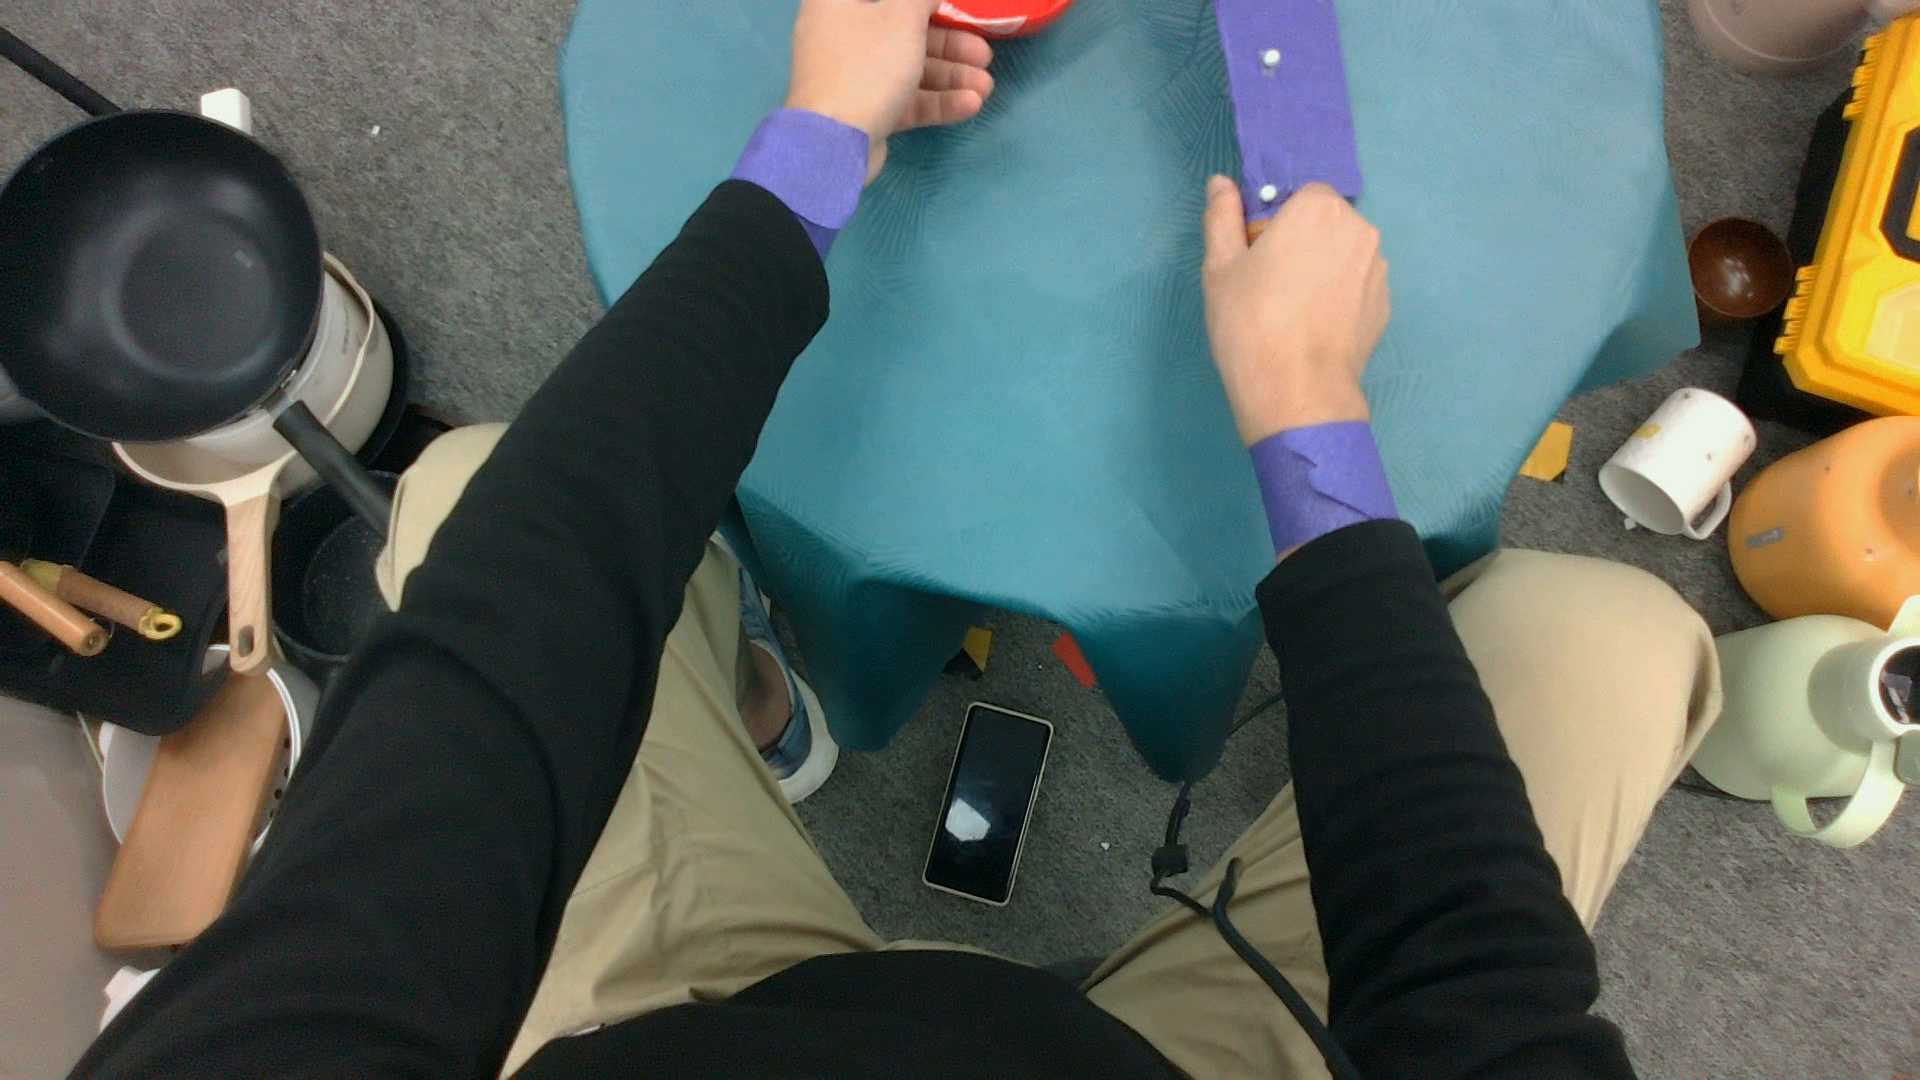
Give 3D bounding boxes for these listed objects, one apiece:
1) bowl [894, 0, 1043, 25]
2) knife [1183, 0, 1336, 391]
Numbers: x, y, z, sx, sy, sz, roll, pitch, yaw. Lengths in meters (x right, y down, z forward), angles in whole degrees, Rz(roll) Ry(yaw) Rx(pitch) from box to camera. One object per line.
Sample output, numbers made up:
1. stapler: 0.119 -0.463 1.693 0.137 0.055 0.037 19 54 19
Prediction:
1. bowl: 0.004 -0.321 0.742 0.119 0.051 0.119 0 76 0
2. knife: 0.154 -0.235 0.702 0.104 0.032 0.315 -11 90 -35
